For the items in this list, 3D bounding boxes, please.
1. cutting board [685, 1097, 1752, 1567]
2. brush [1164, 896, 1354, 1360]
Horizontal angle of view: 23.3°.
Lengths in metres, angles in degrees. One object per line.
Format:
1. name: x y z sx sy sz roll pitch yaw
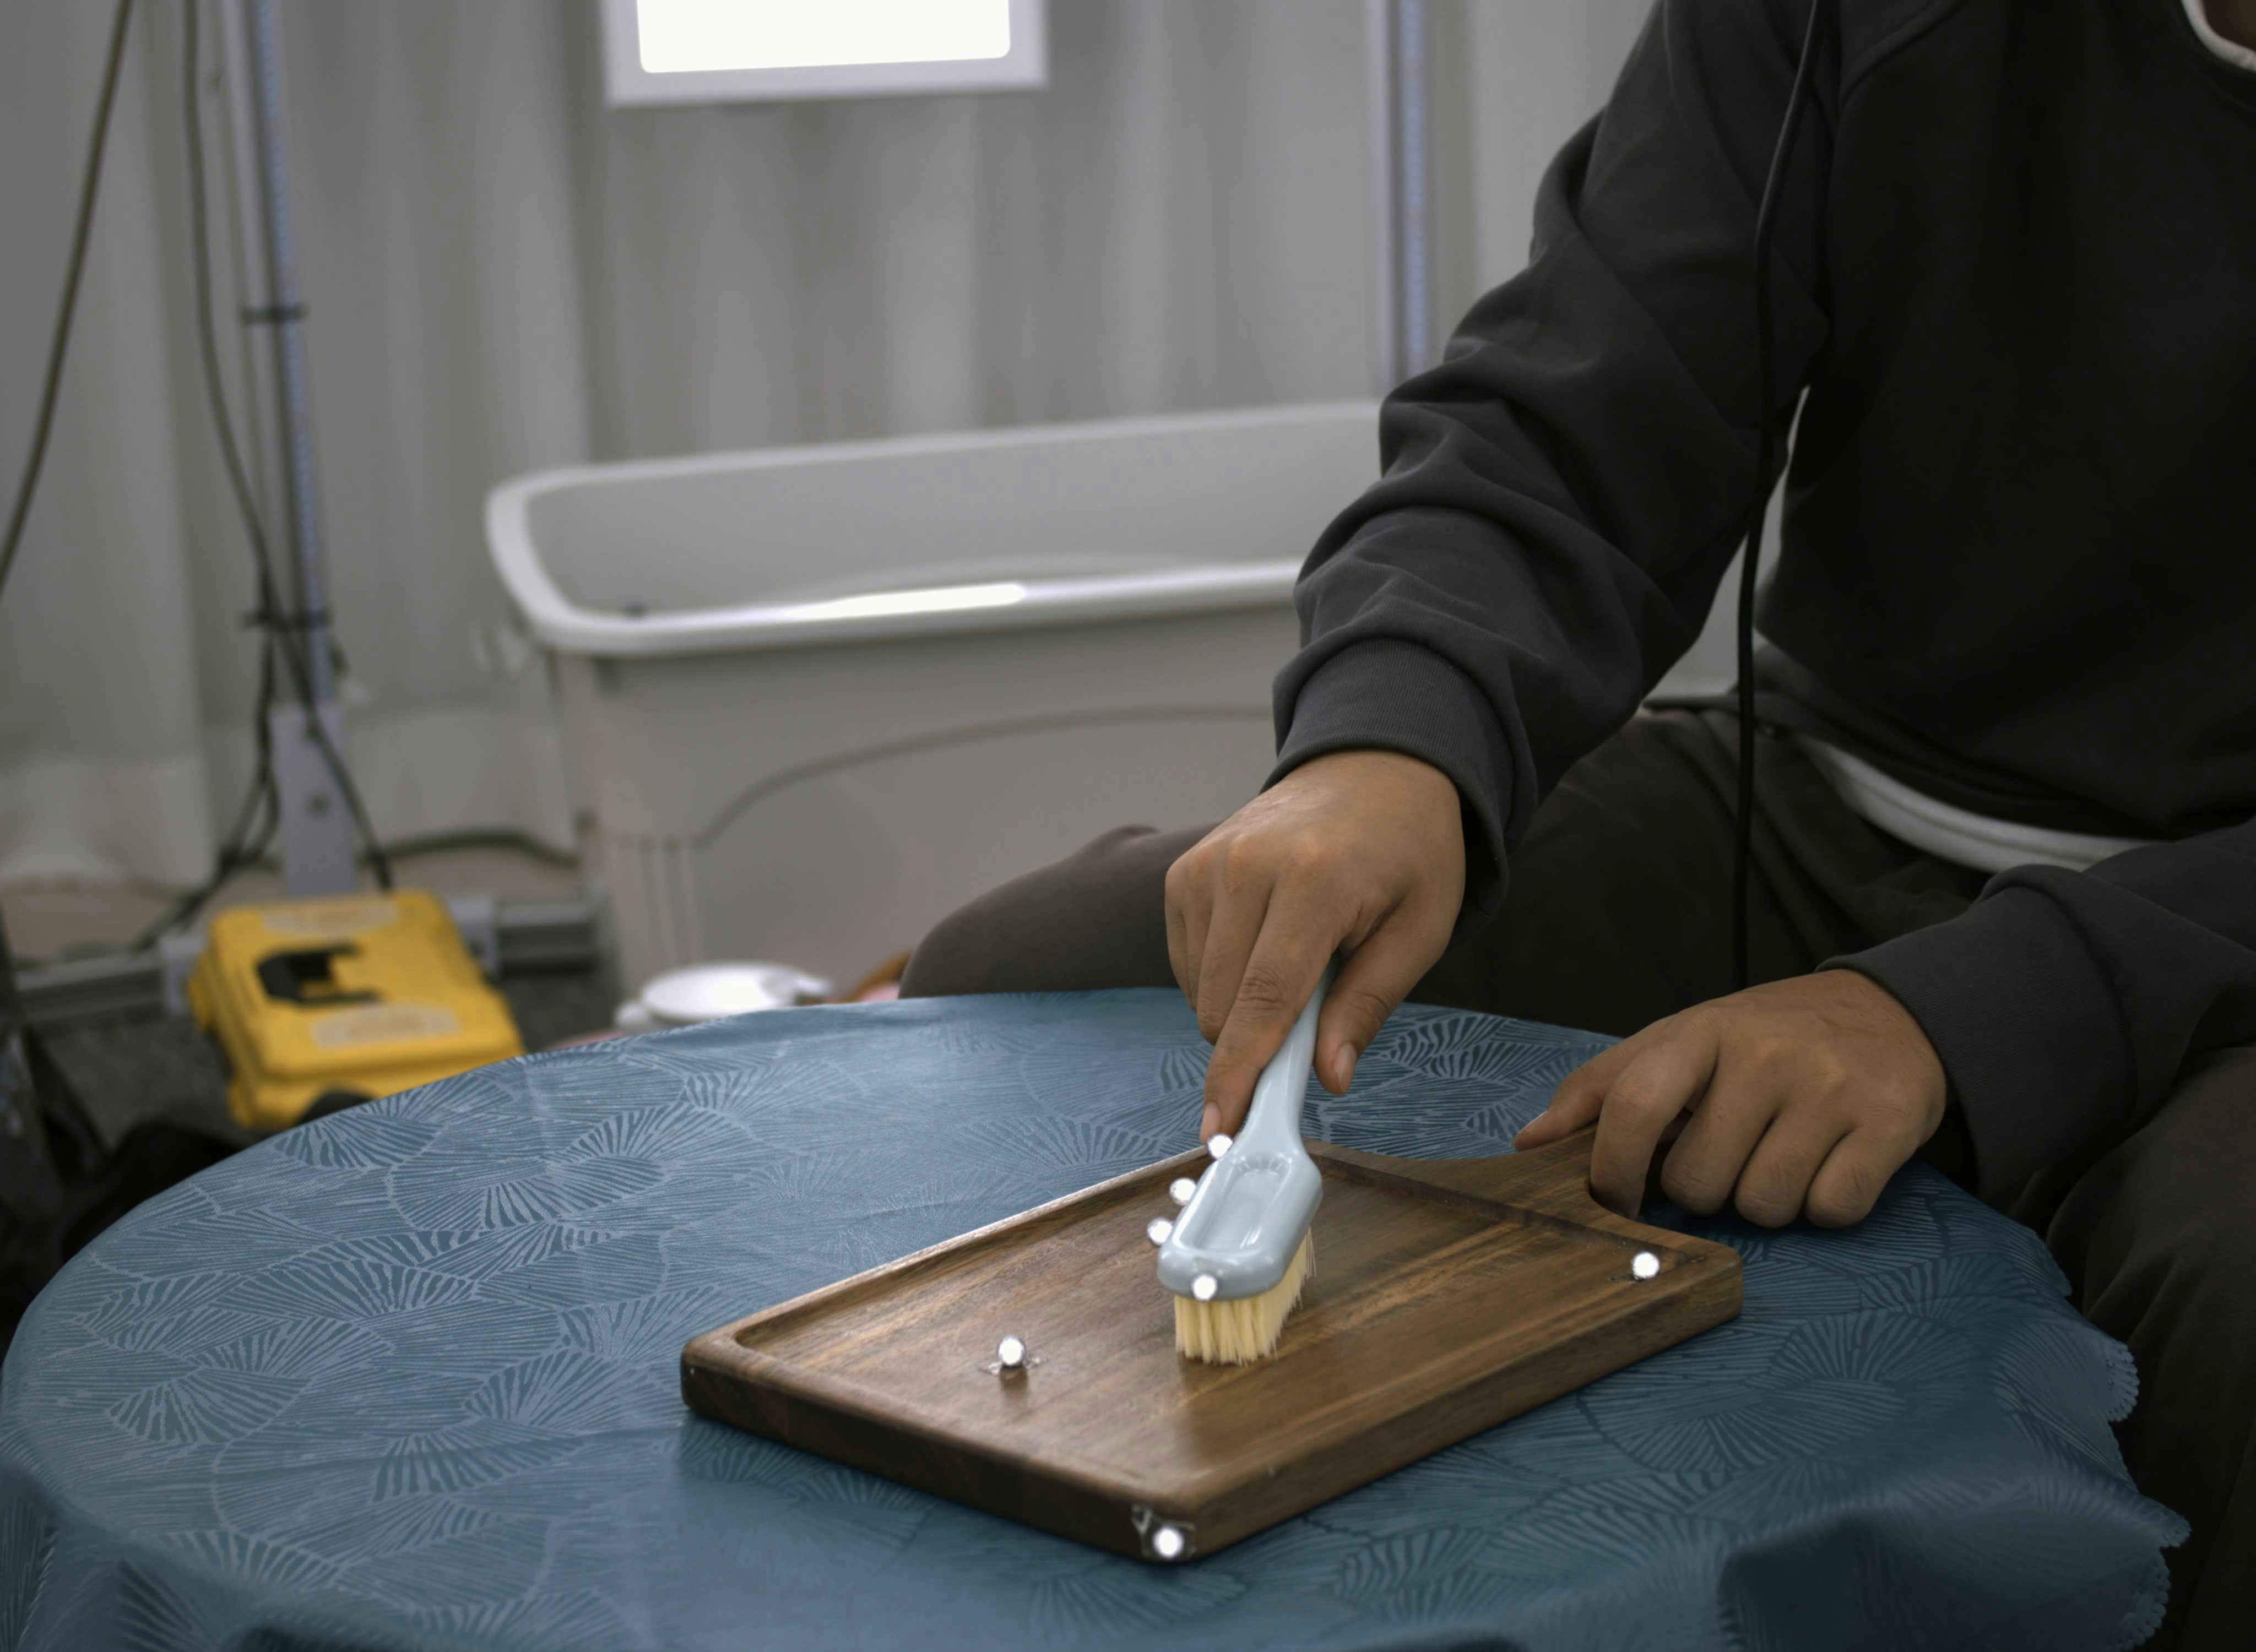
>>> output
1. cutting board: 0.062 0.133 1.597 0.202 0.023 0.351 12 21 43
2. brush: 0.044 0.085 1.616 0.038 0.049 0.231 -1 30 10
